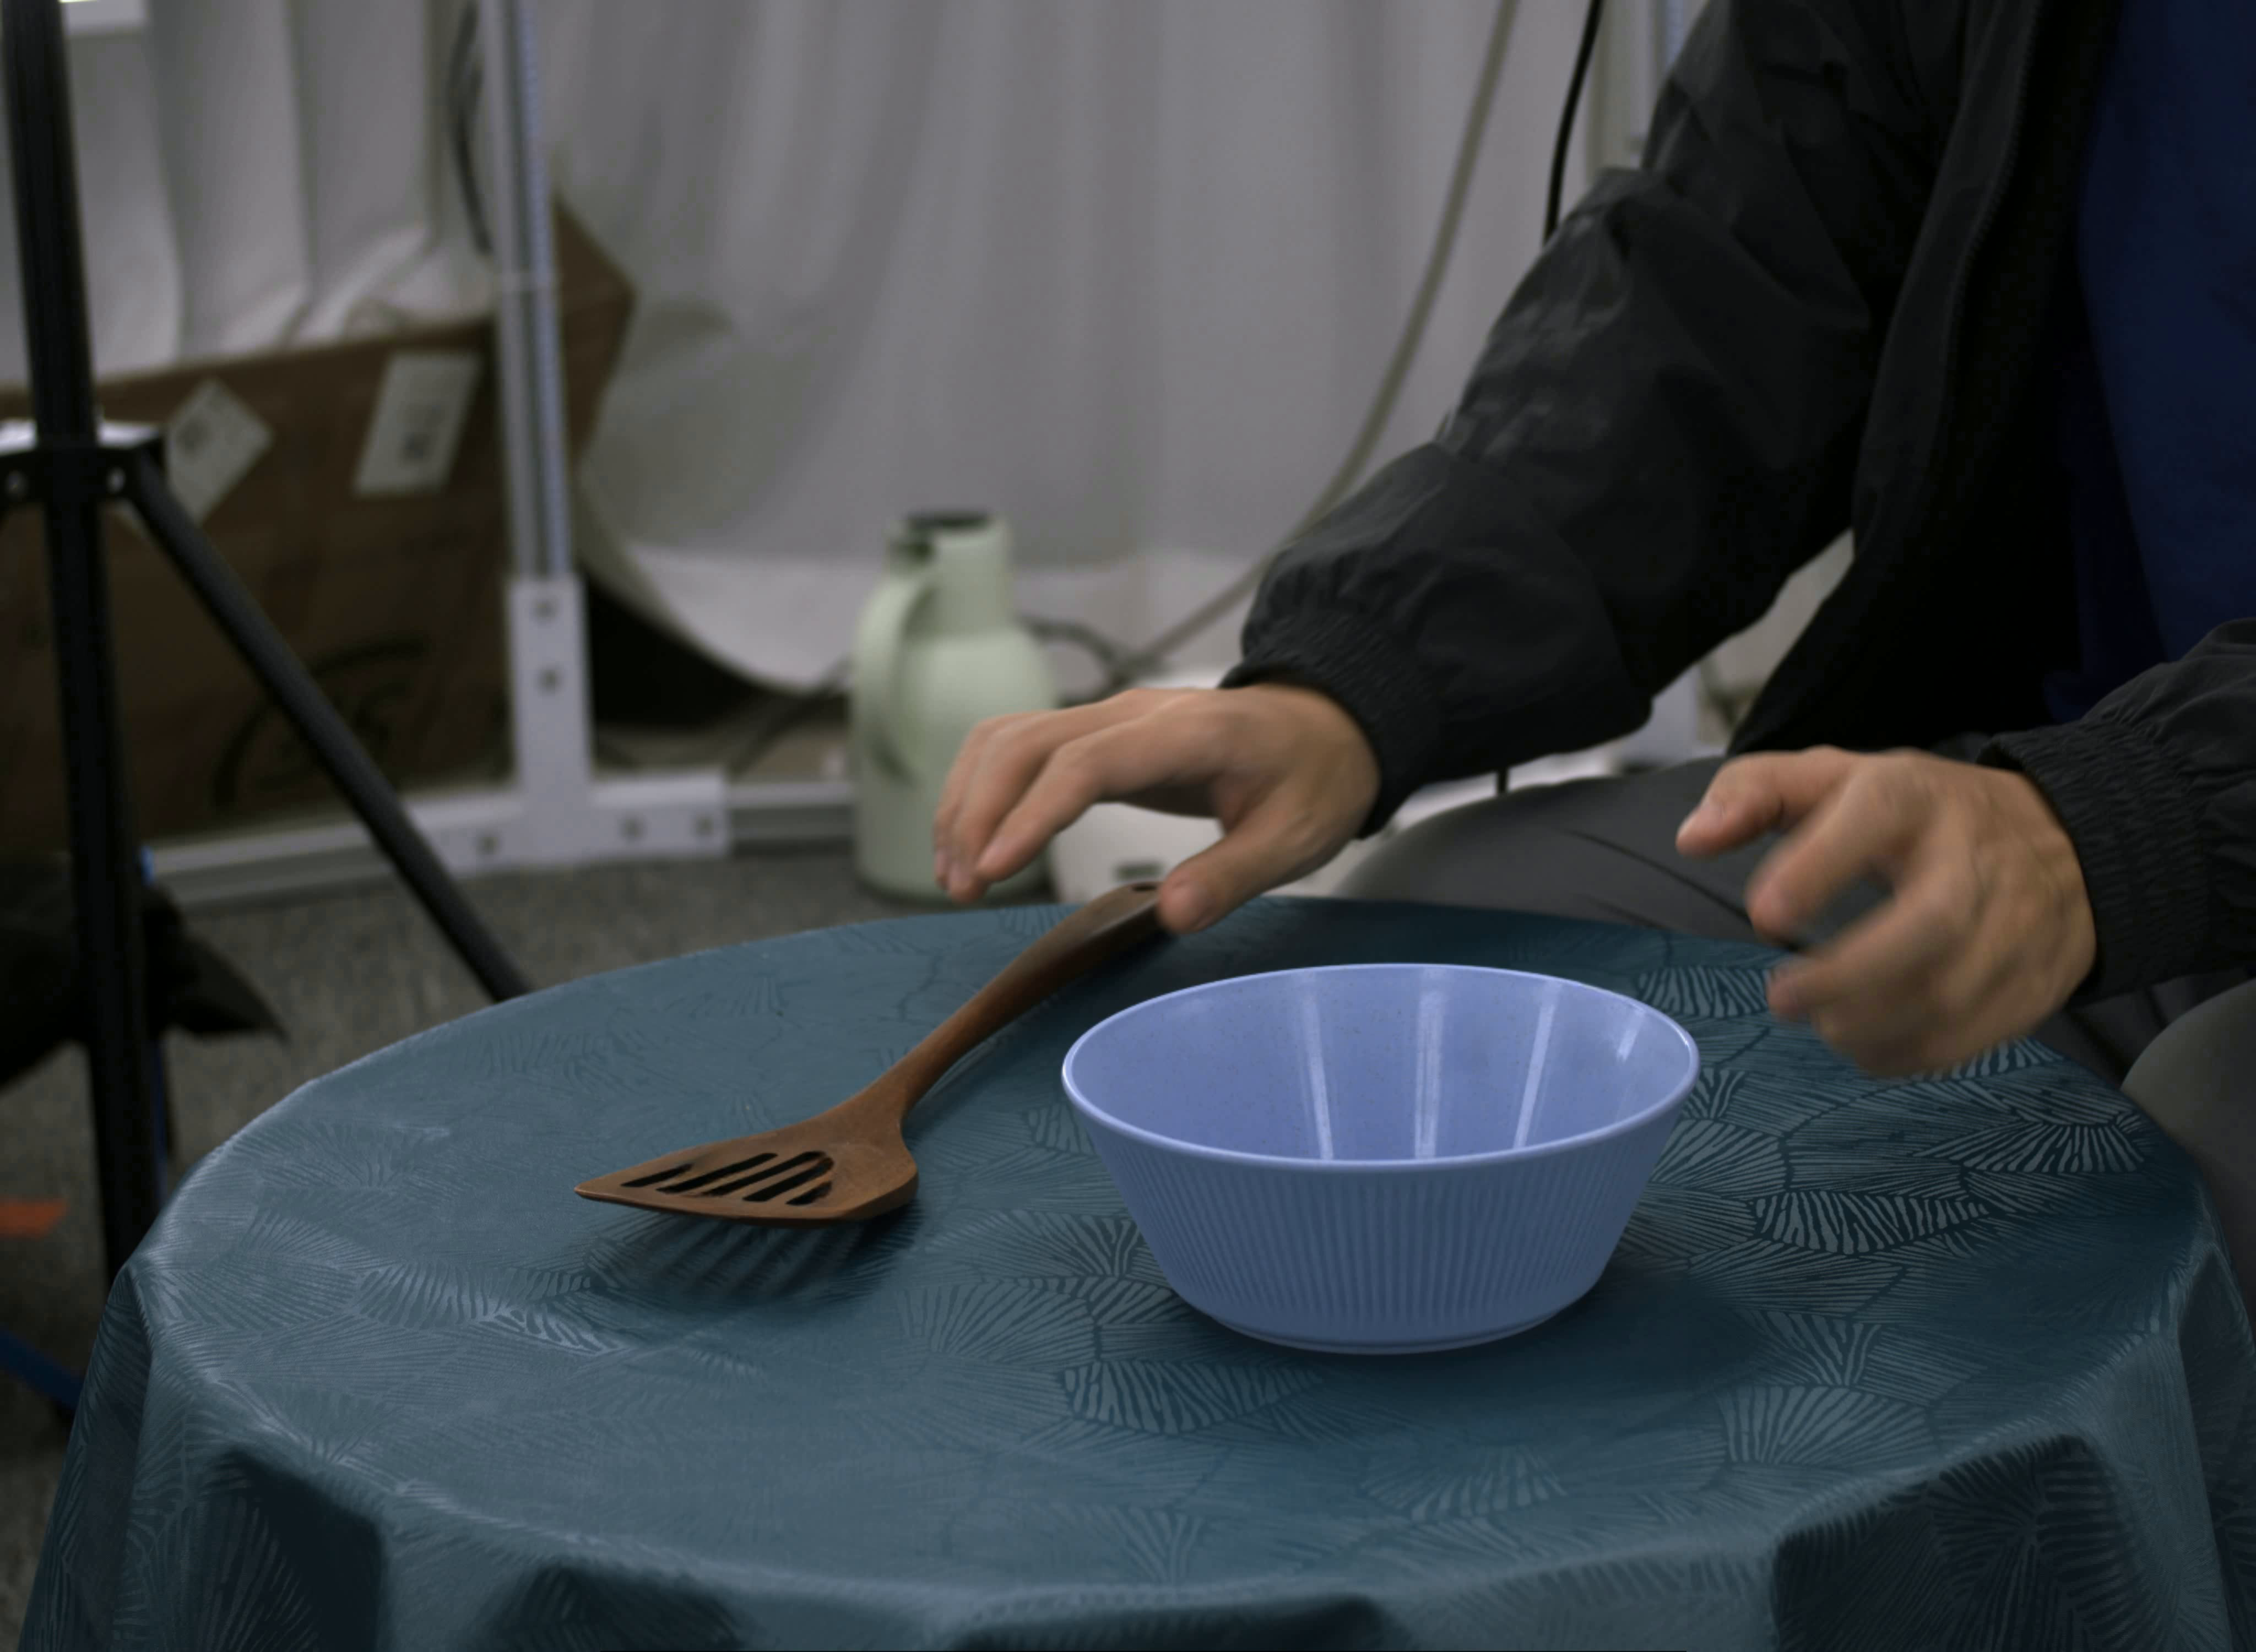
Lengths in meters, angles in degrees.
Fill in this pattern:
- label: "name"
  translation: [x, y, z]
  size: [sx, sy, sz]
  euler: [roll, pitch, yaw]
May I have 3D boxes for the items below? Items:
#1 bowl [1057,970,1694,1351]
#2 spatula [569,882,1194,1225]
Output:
- label: "bowl"
  translation: [0.068, 0.095, 1.465]
  size: [0.175, 0.070, 0.177]
  euler: [-2, 15, -1]
- label: "spatula"
  translation: [-0.056, 0.071, 1.662]
  size: [0.086, 0.024, 0.381]
  euler: [5, 16, 21]
